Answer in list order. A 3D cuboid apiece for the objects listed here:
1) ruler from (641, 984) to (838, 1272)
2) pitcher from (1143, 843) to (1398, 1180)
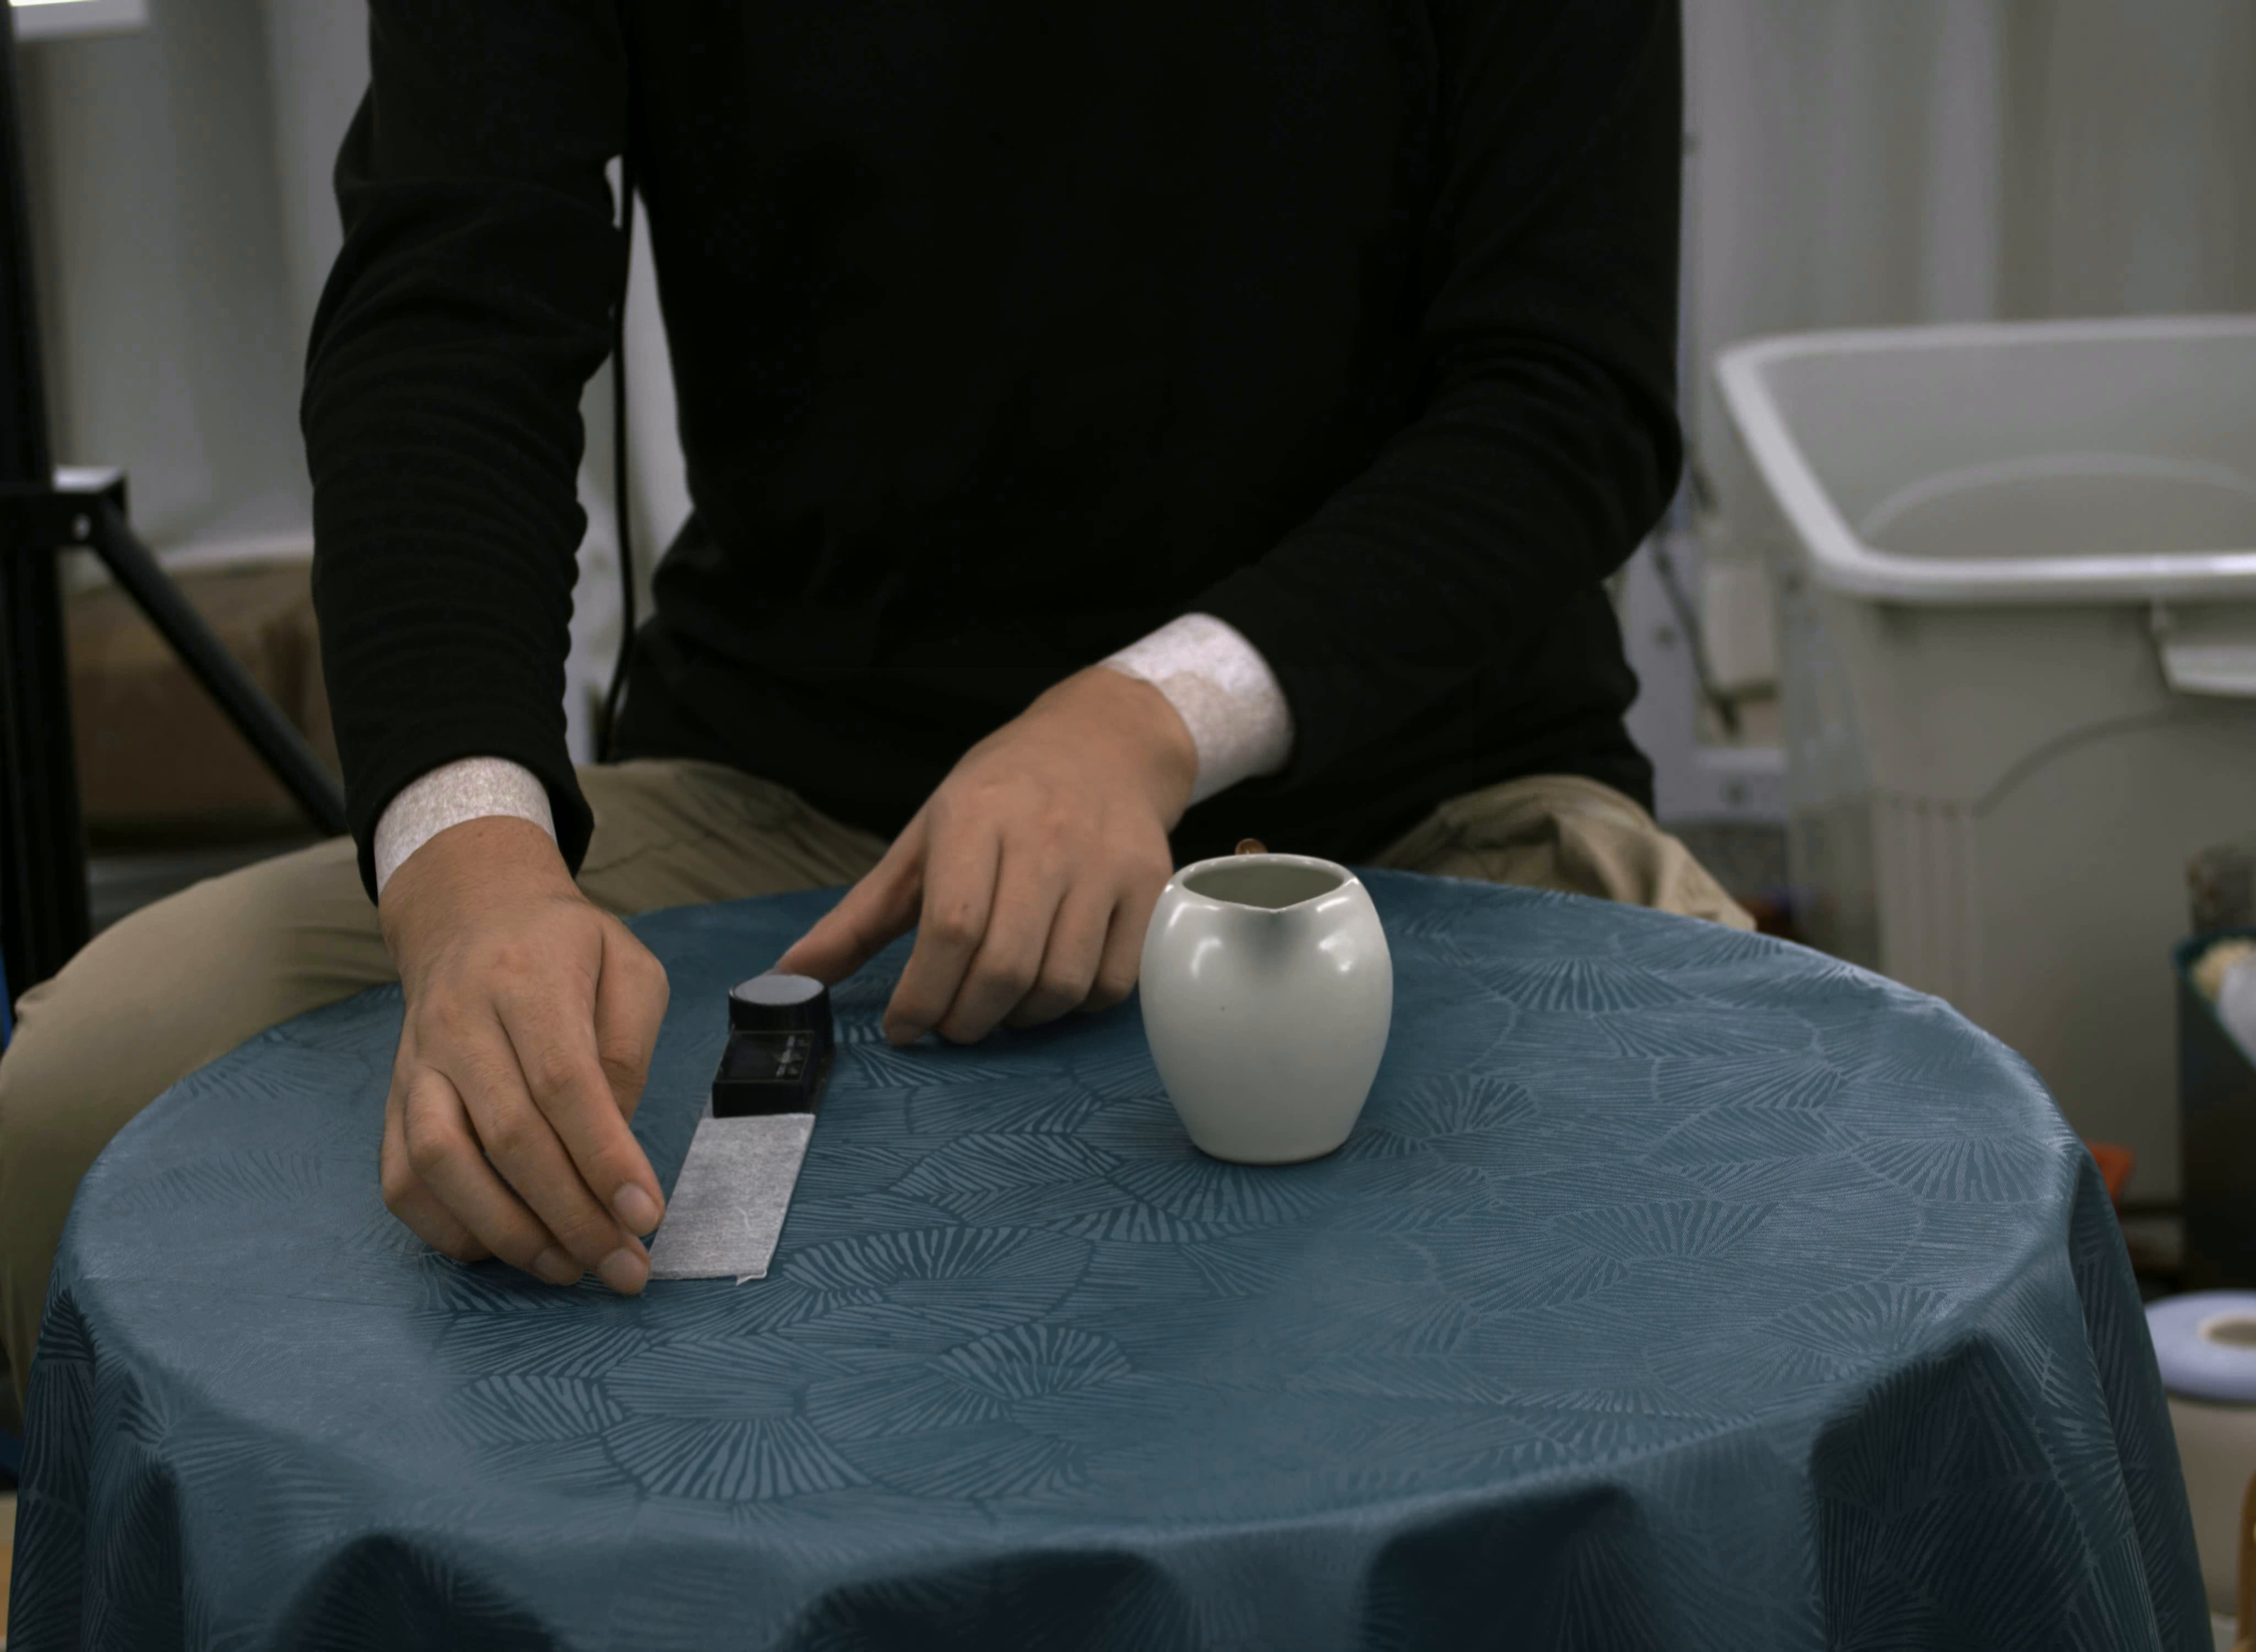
[{"bbox_3d":[-0.115,0.088,1.603,0.038,0.024,0.218,-8,14,5],"label":"ruler"},{"bbox_3d":[0.042,0.054,1.582,0.075,0.088,0.119,2,17,1],"label":"pitcher"}]
